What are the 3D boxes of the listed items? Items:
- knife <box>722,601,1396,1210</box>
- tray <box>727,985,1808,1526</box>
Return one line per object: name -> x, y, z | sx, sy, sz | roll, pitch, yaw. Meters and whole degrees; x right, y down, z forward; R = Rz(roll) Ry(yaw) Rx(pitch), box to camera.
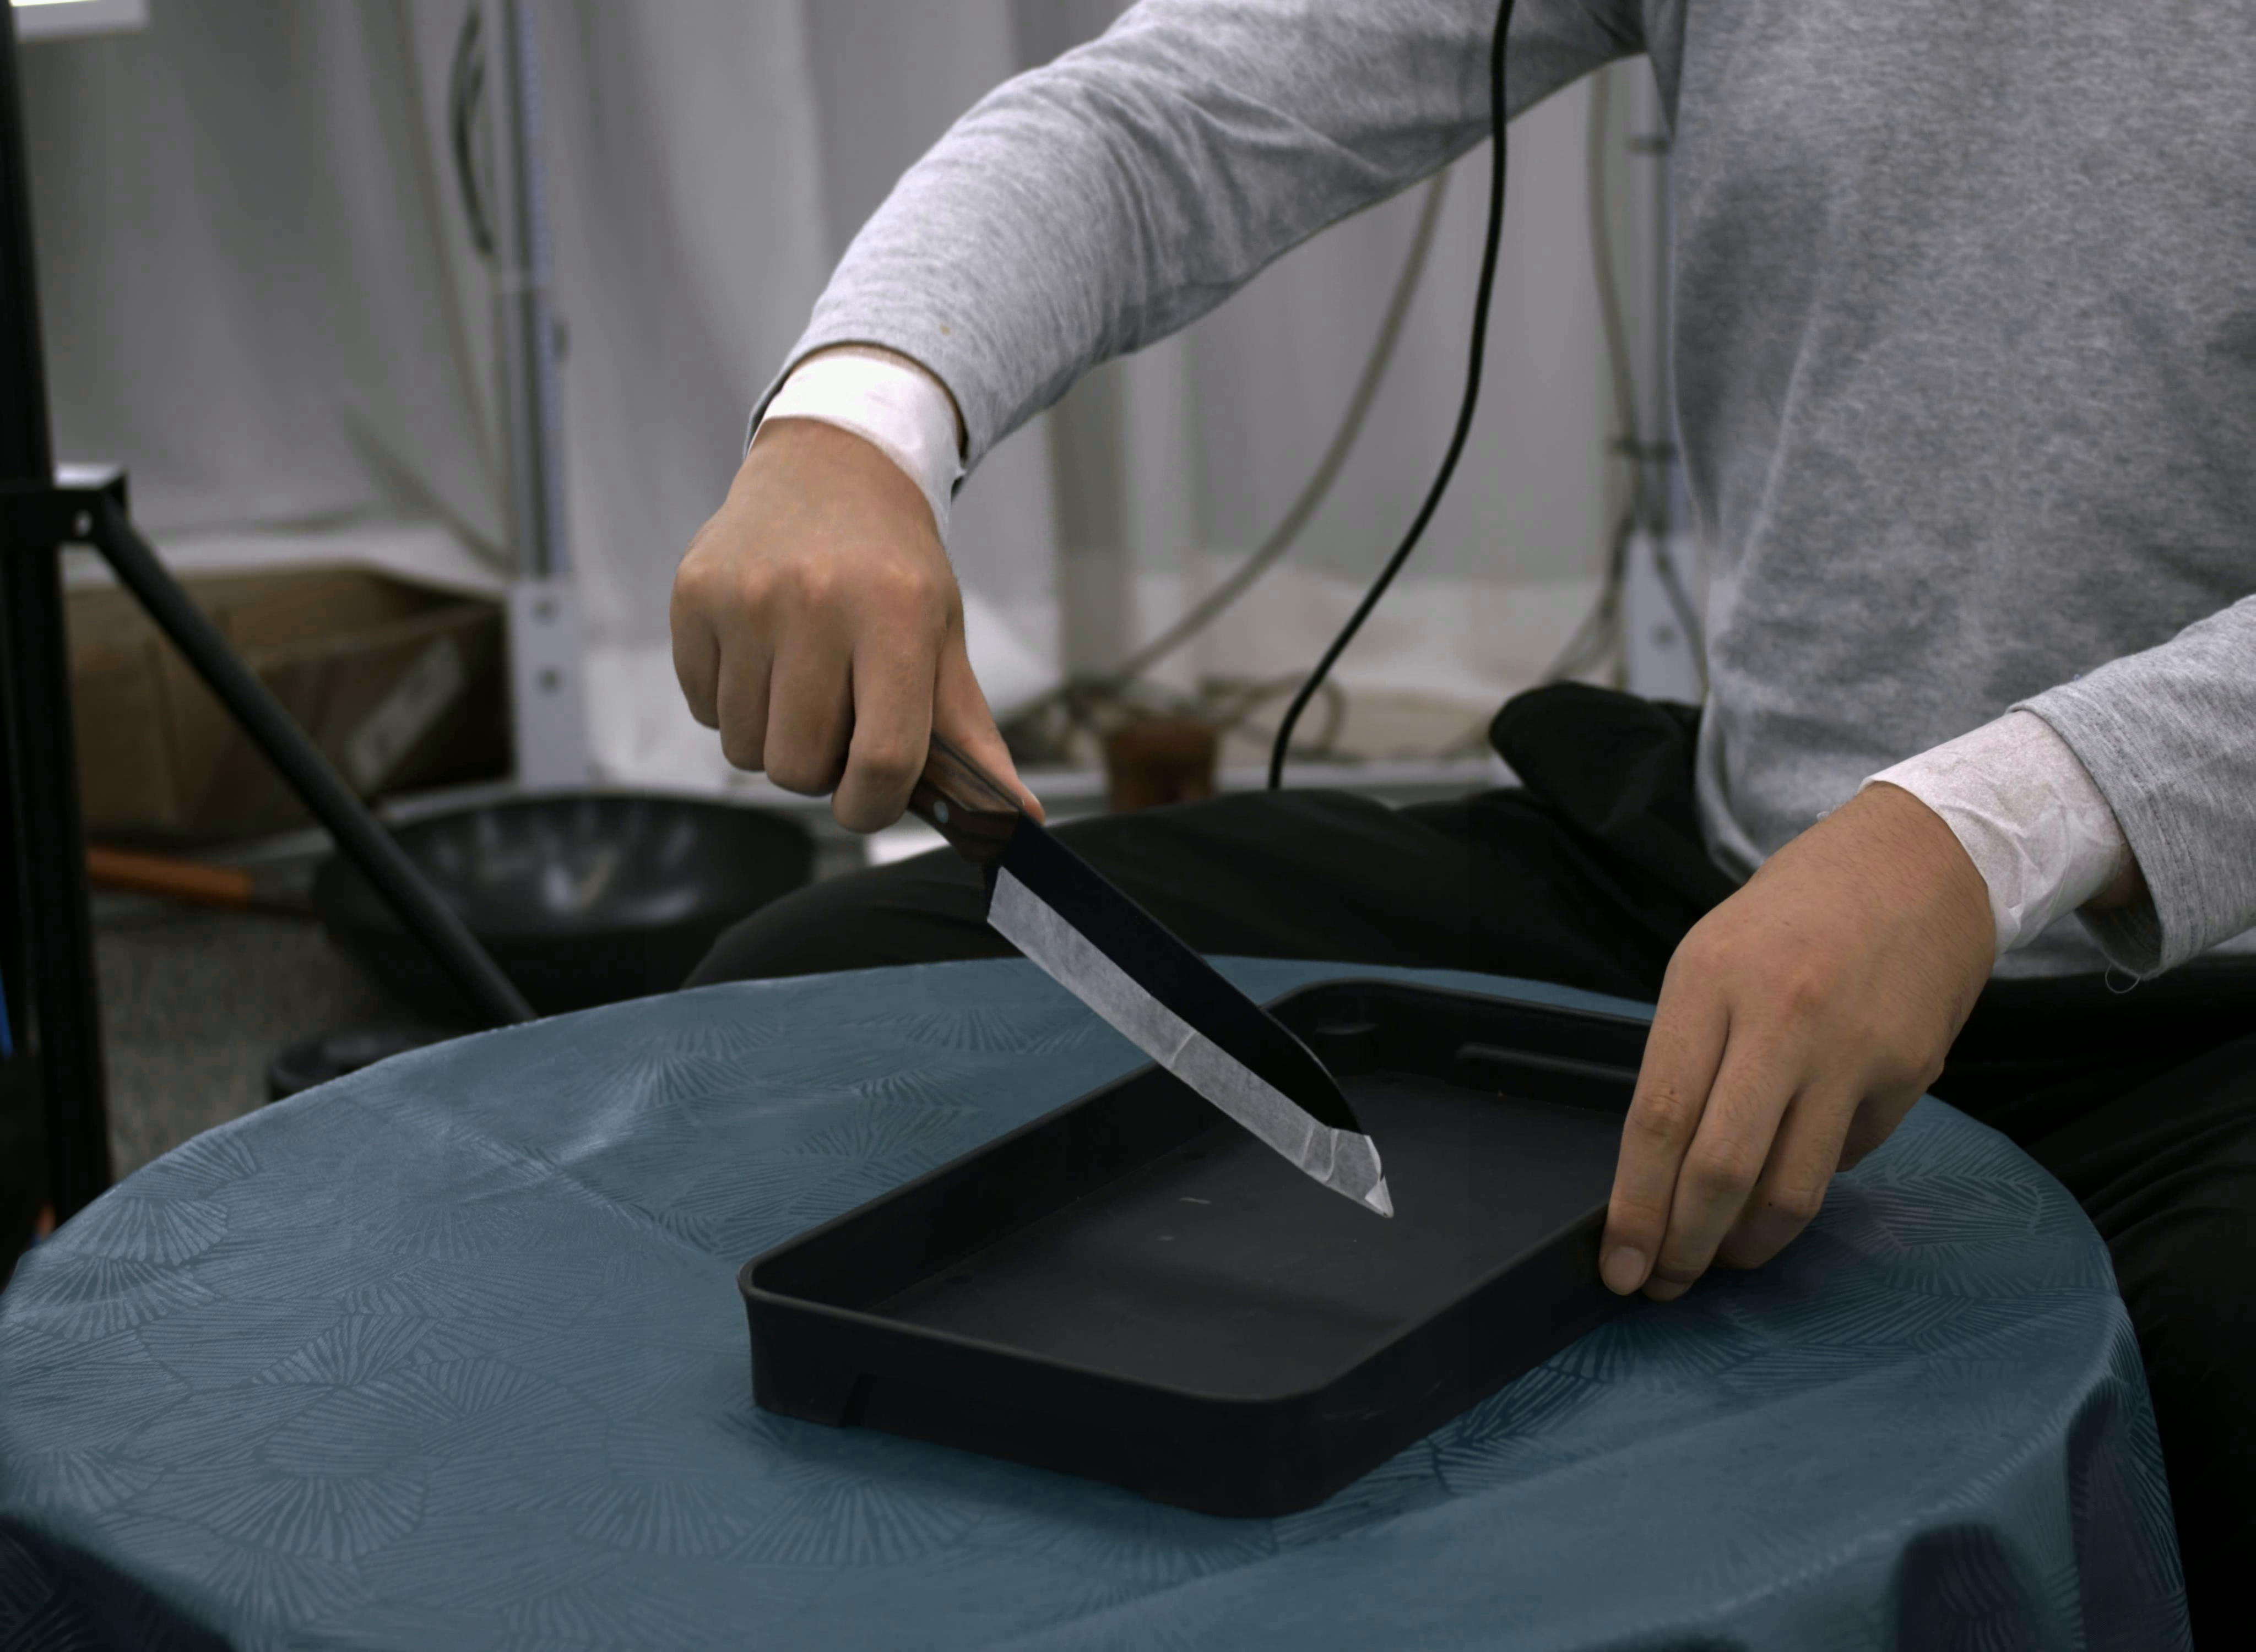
knife -> -0.021, 0.020, 1.523 | 0.019, 0.050, 0.295 | -23, 50, -36
tray -> 0.047, 0.112, 1.477 | 0.188, 0.037, 0.312 | 8, 18, 32
